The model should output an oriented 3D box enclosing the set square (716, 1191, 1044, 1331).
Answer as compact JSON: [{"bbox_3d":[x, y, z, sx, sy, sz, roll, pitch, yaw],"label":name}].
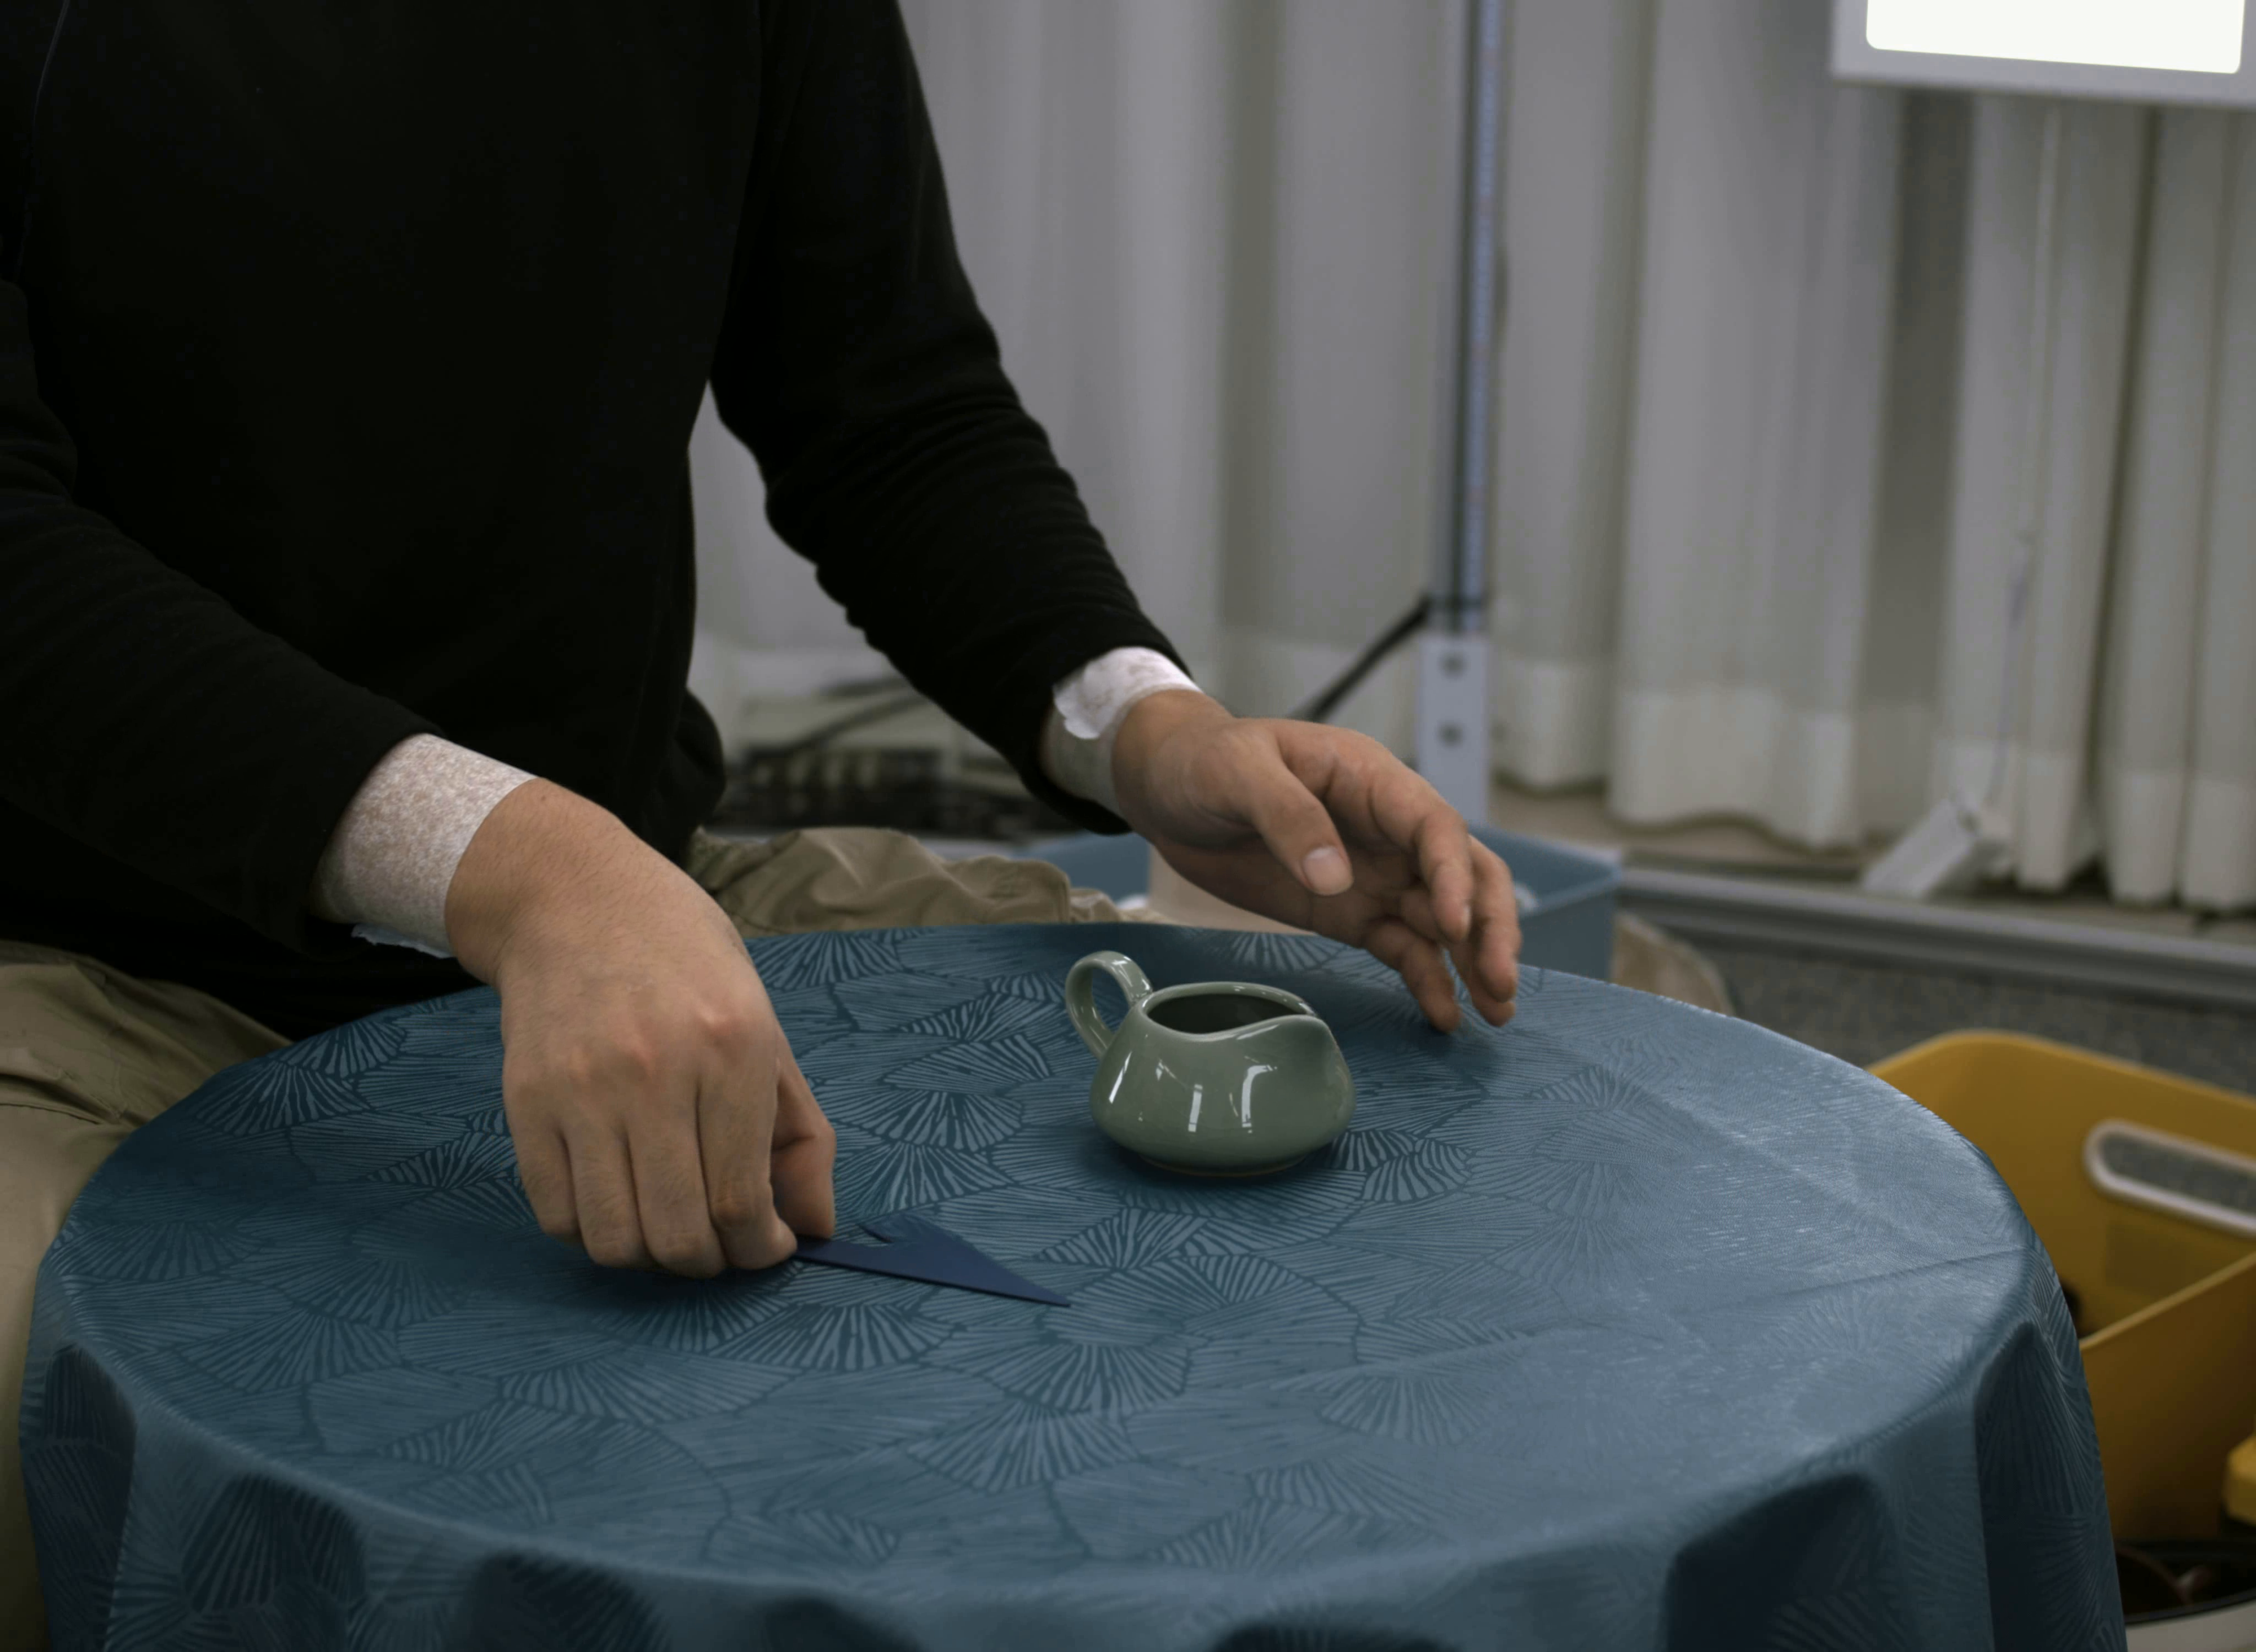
[{"bbox_3d":[-0.078,0.130,1.548,0.061,0.006,0.130,-8,18,-30],"label":"set square"}]

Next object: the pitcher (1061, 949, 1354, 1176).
[{"bbox_3d":[0.024,0.074,1.655,0.111,0.056,0.084,13,18,38],"label":"pitcher"}]
